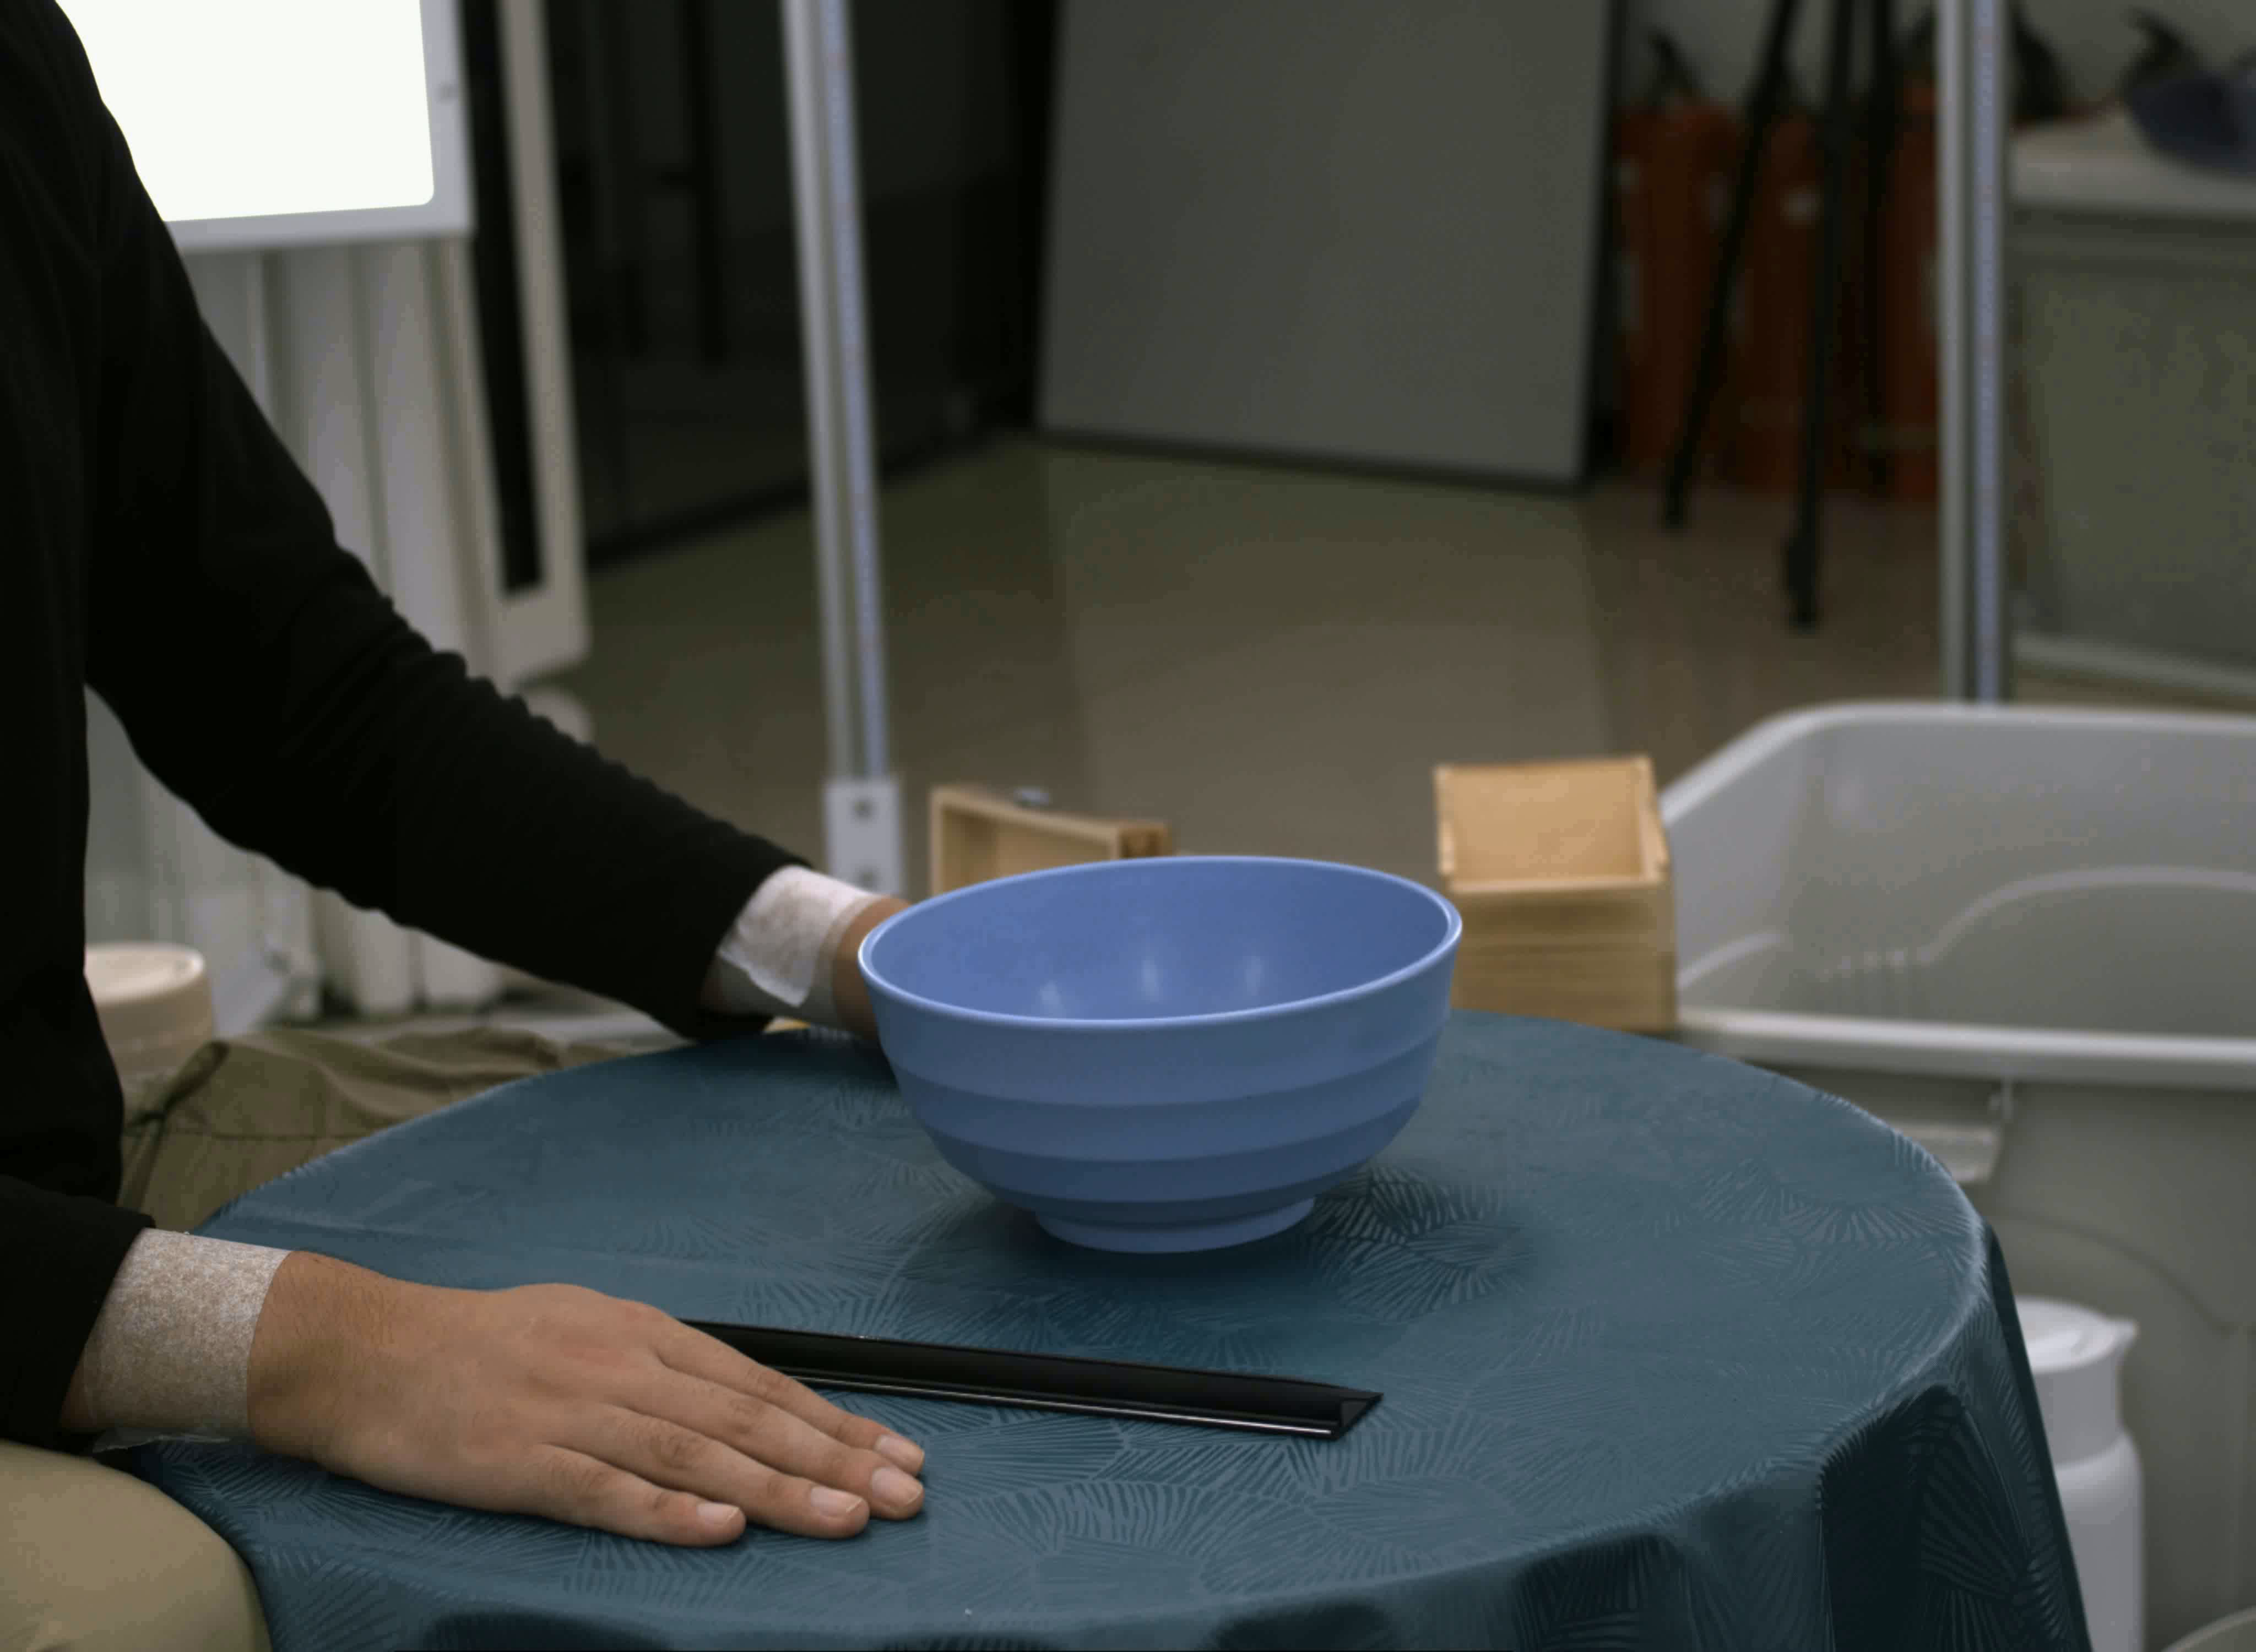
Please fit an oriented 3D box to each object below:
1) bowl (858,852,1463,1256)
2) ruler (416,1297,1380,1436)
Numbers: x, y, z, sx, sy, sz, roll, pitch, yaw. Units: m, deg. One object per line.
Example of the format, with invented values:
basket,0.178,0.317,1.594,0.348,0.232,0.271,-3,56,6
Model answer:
bowl,0.013,0.079,1.737,0.194,0.096,0.197,-3,14,0
ruler,-0.072,0.157,1.615,0.313,0.017,0.039,2,11,26
